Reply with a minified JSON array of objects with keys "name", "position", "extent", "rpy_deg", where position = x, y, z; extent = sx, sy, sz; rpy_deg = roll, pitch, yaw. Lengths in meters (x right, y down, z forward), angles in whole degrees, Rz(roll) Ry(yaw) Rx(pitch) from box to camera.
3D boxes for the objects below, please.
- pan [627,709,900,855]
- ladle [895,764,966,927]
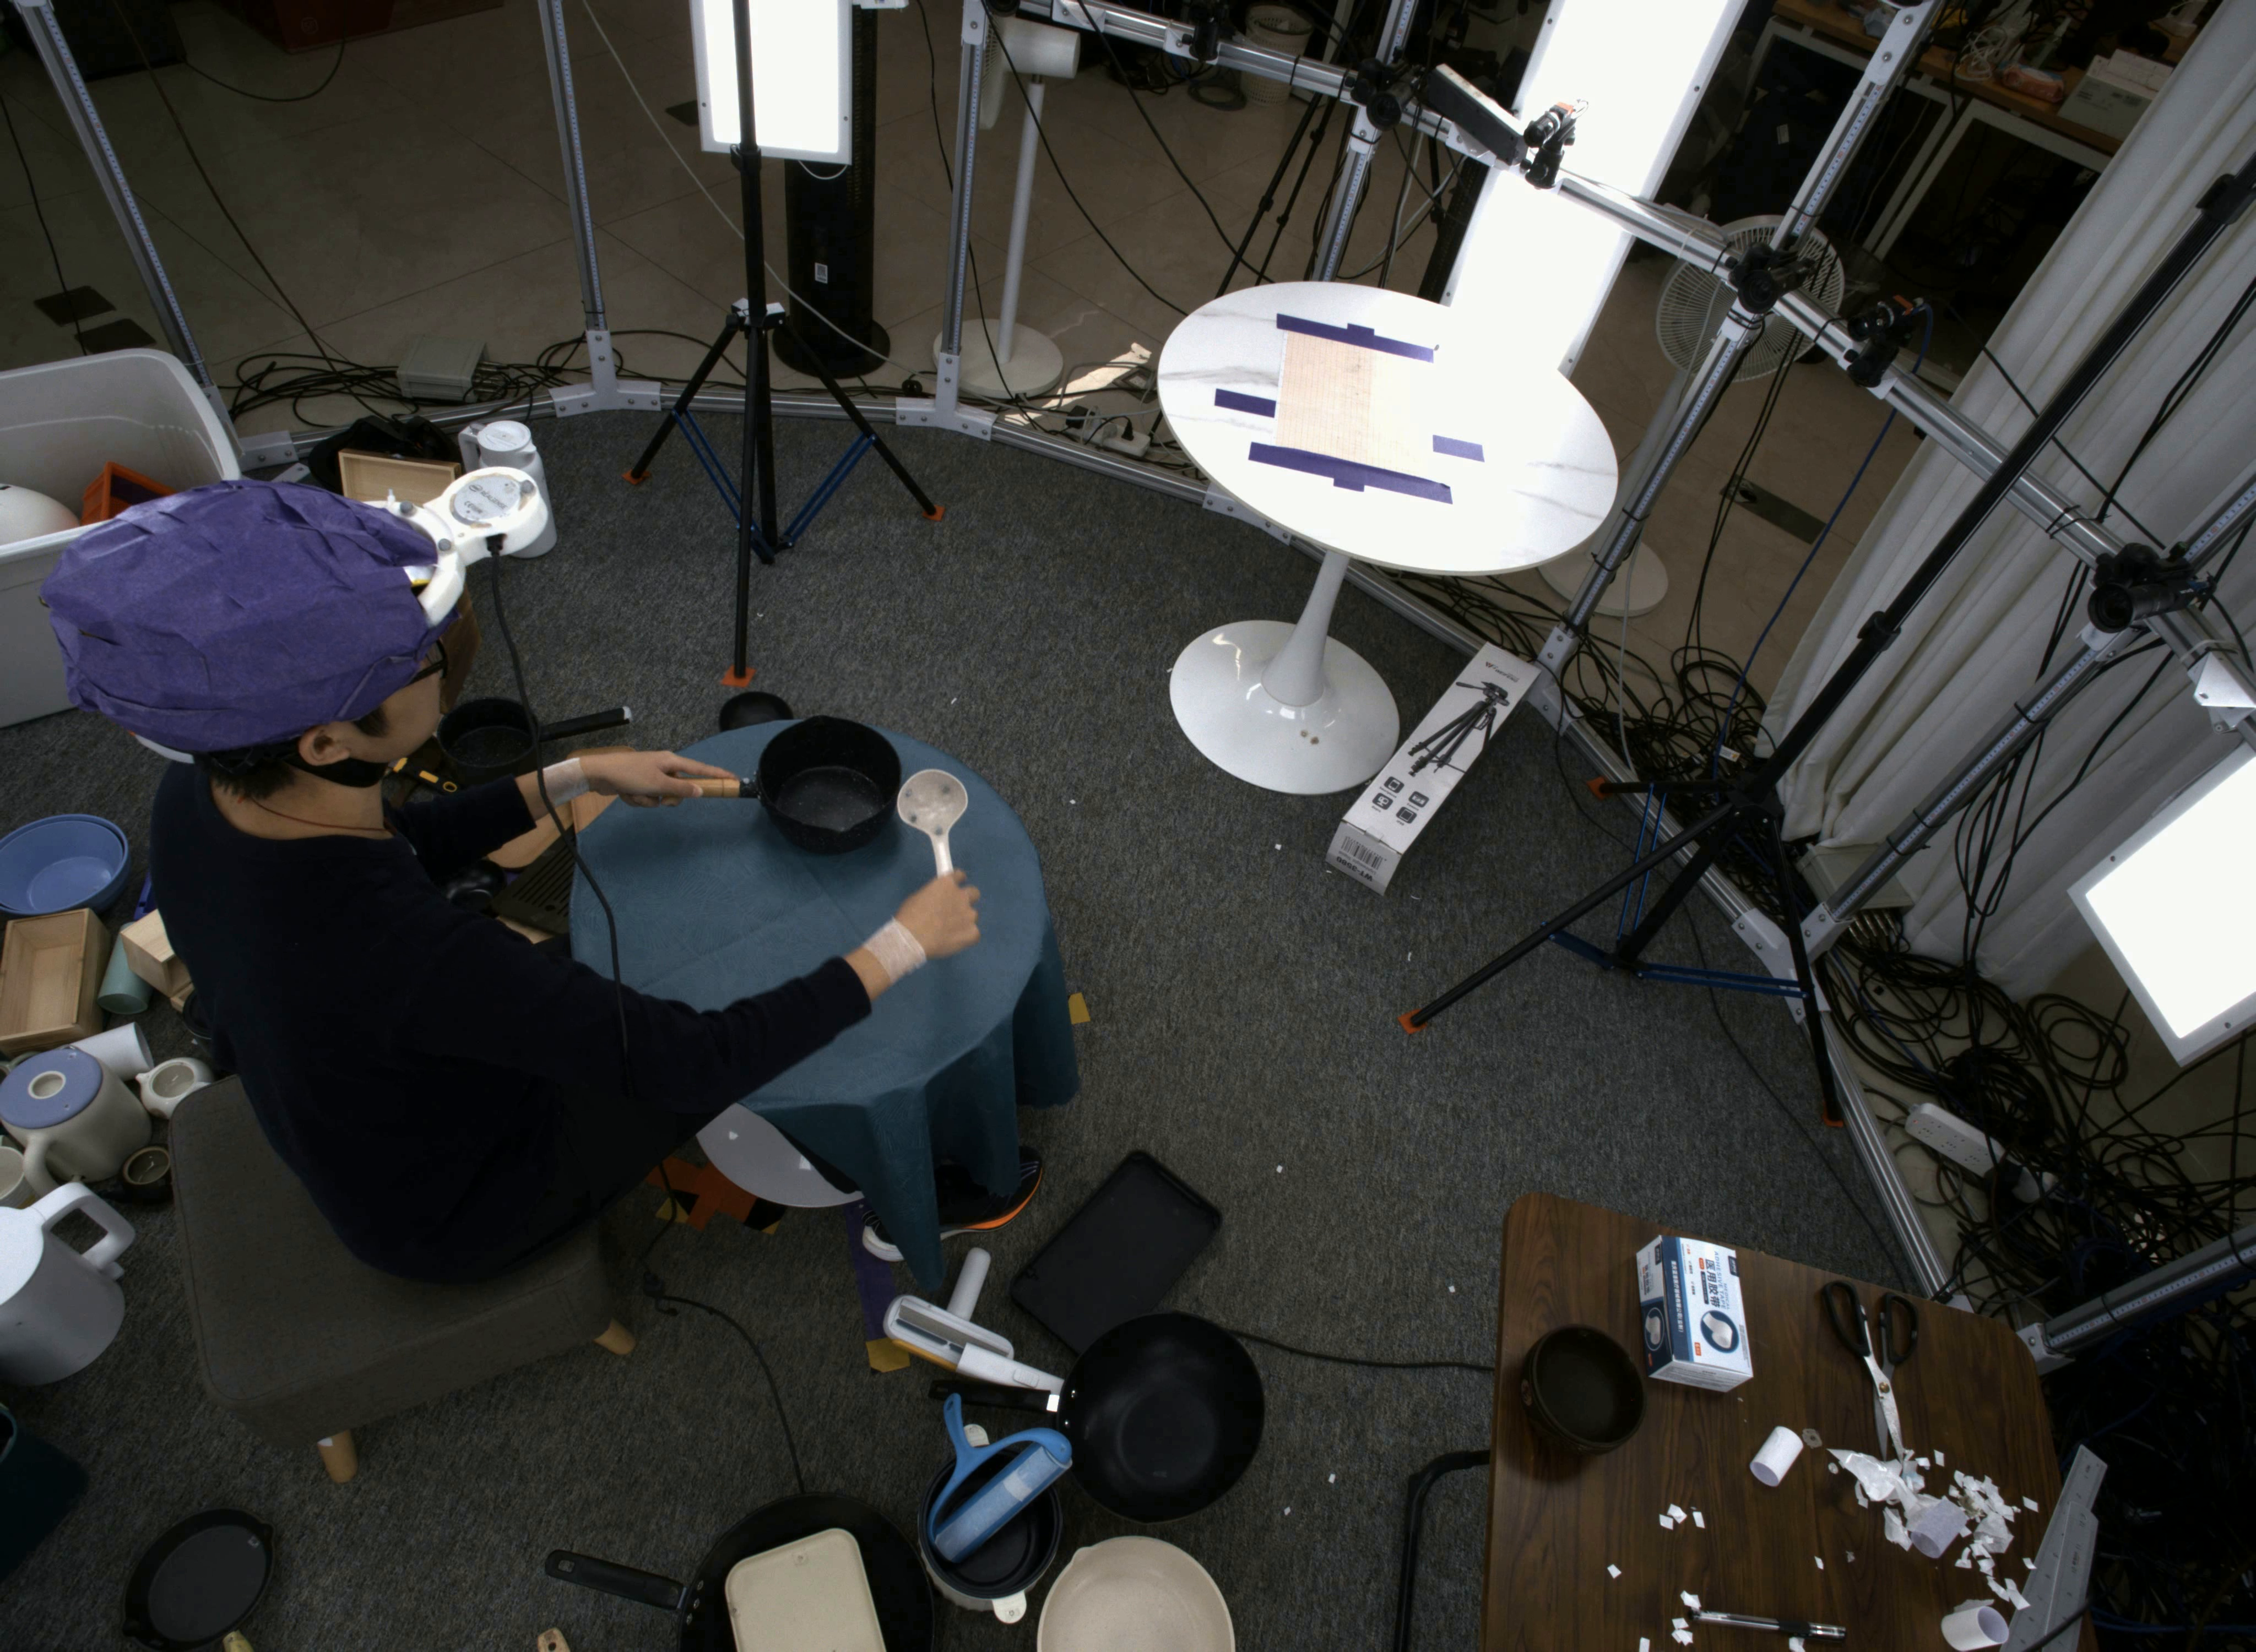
[{"name":"pan","position":[-0.466,-0.044,1.666],"extent":[0.345,0.110,0.202],"rpy_deg":[-9,57,-22]},{"name":"ladle","position":[-0.229,0.016,1.559],"extent":[0.089,0.072,0.267],"rpy_deg":[-8,31,-9]}]
